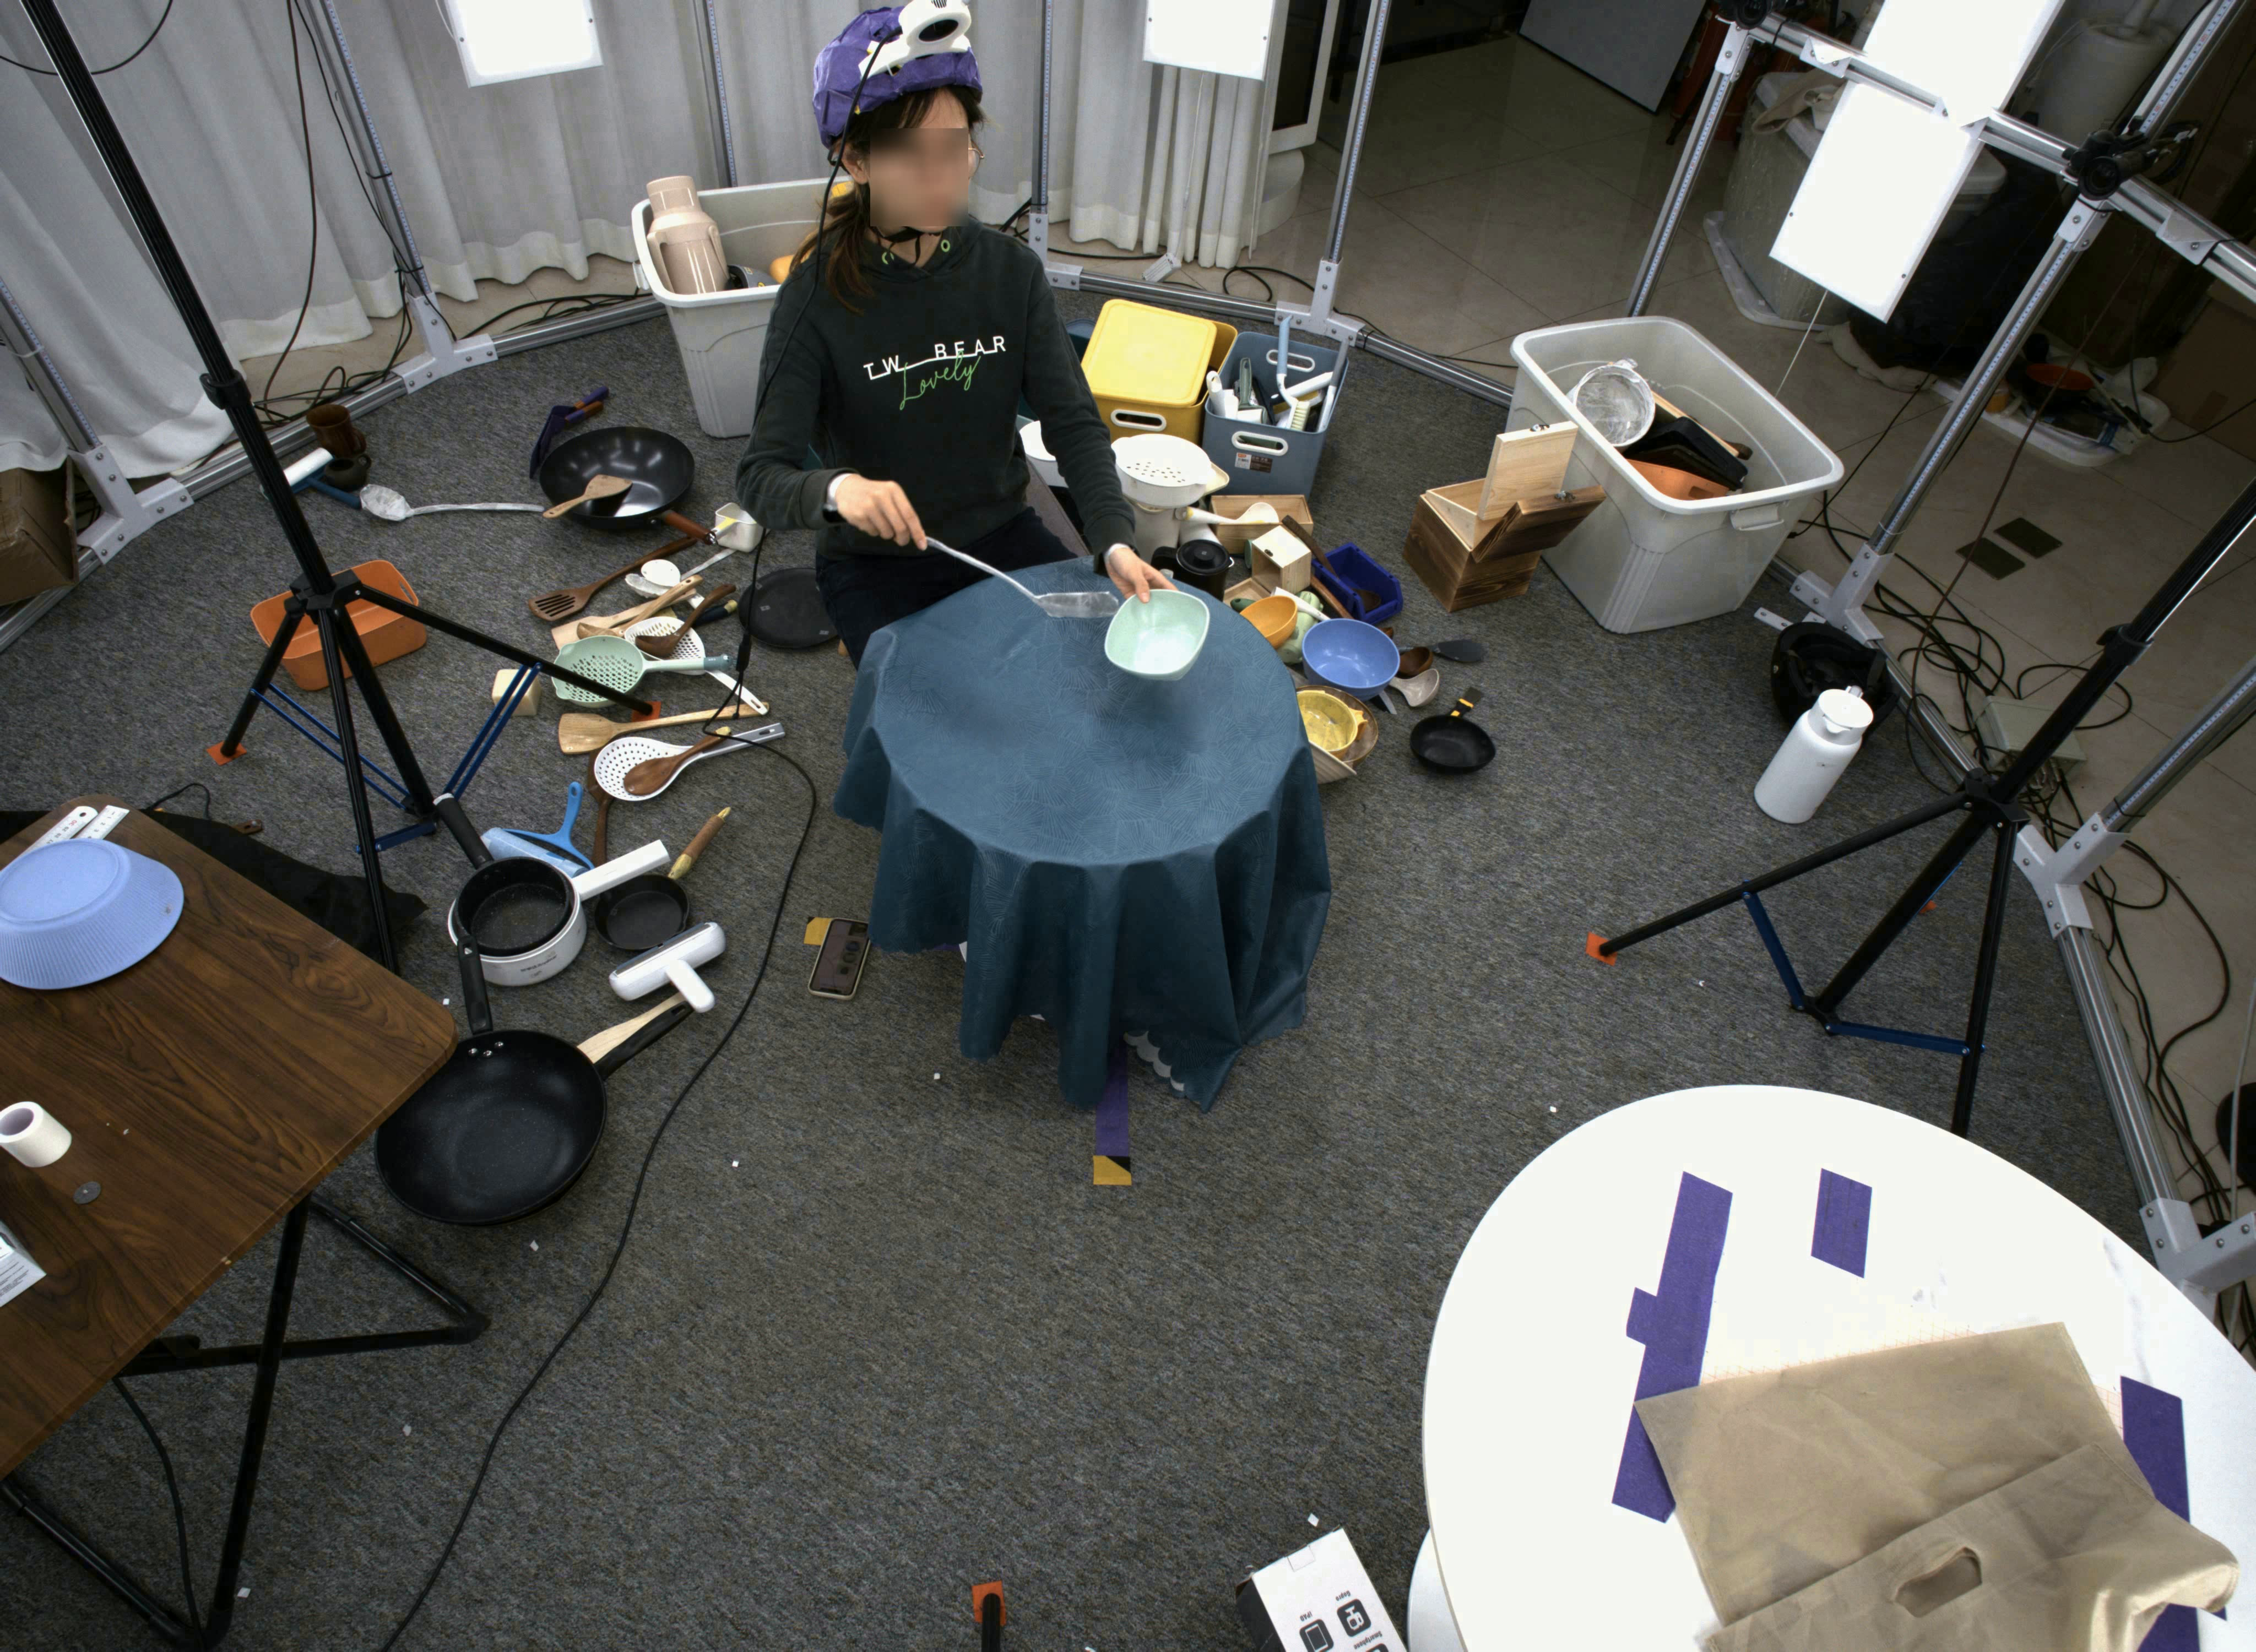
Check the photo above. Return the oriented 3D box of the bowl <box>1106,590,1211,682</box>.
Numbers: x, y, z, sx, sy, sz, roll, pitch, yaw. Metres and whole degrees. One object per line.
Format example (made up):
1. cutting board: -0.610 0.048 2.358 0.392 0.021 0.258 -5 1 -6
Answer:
1. bowl: 0.047 -0.253 1.784 0.151 0.057 0.155 -6 61 11

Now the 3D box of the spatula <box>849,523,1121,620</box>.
1. spatula: -0.184 -0.330 1.641 0.366 0.098 0.045 24 85 6
